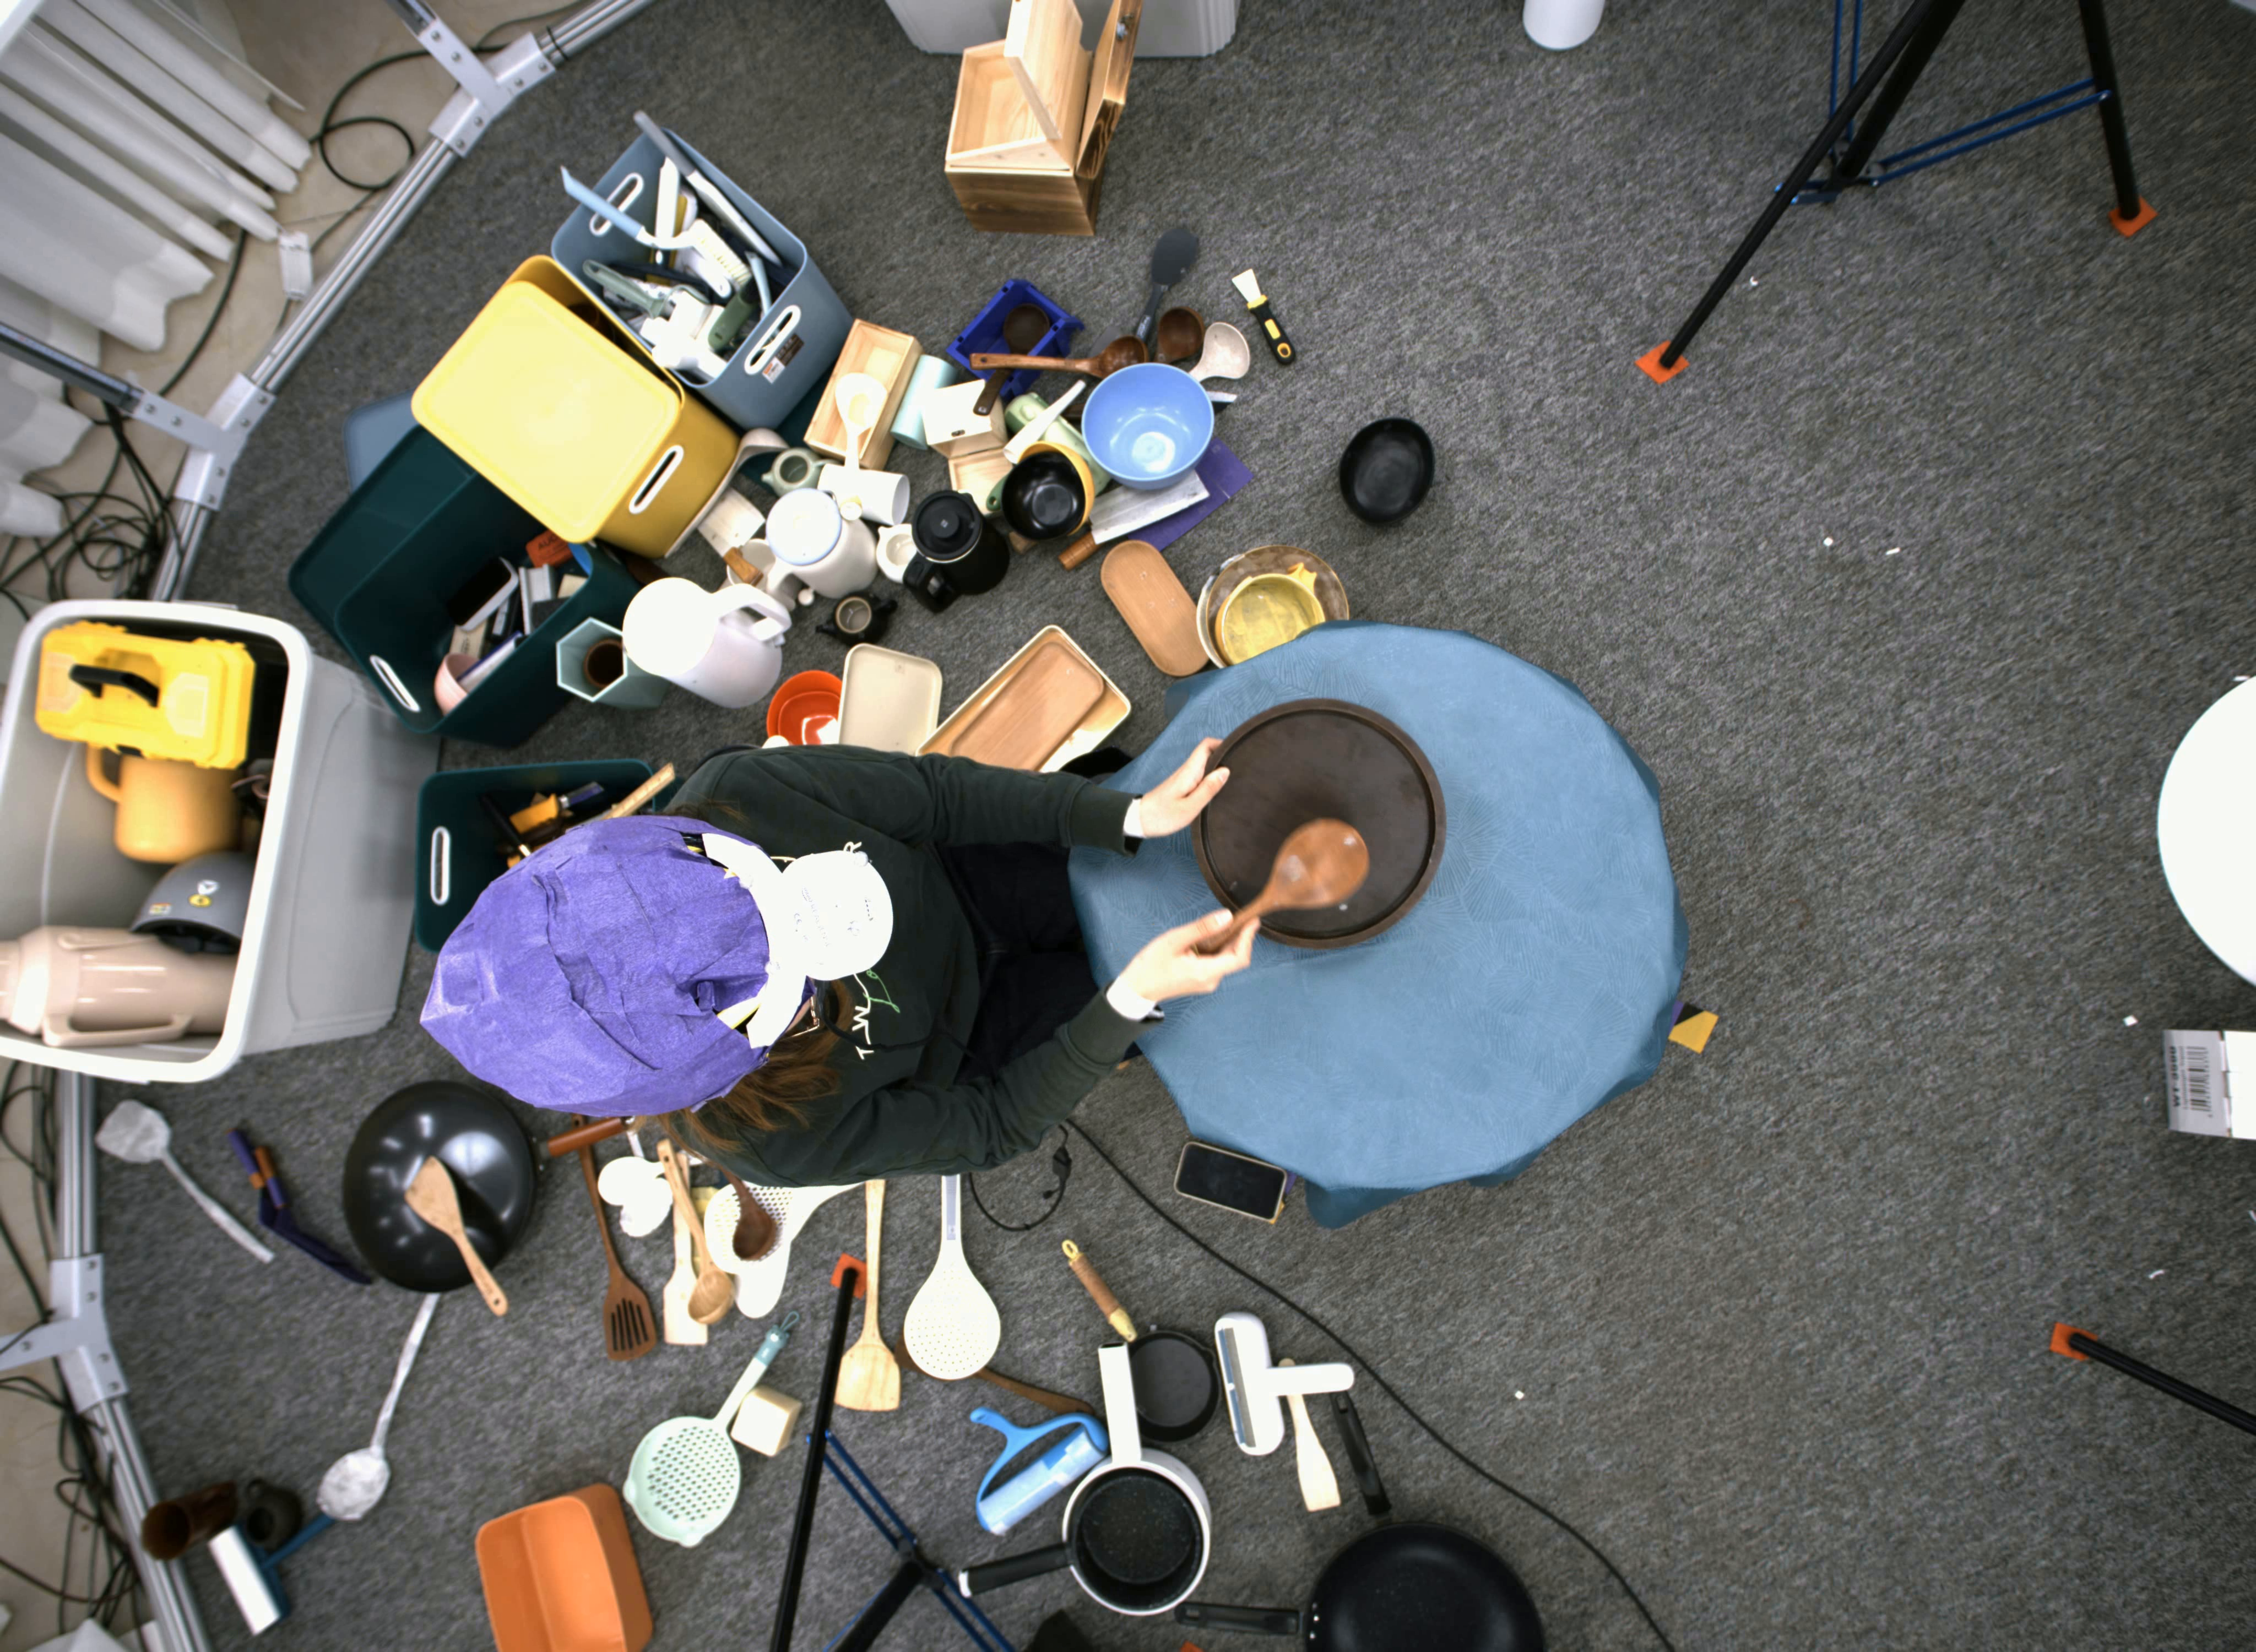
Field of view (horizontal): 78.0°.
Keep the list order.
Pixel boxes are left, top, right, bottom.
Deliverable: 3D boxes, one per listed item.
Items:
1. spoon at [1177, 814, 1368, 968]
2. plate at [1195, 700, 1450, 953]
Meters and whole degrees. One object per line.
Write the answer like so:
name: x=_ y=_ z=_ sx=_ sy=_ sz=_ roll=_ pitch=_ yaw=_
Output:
spoon: x=0.130 y=0.065 z=1.290 sx=0.219 sy=0.017 sz=0.075 roll=-39 pitch=91 yaw=20
plate: x=0.193 y=0.001 z=1.384 sx=0.255 sy=0.029 sz=0.256 roll=1 pitch=100 yaw=8
